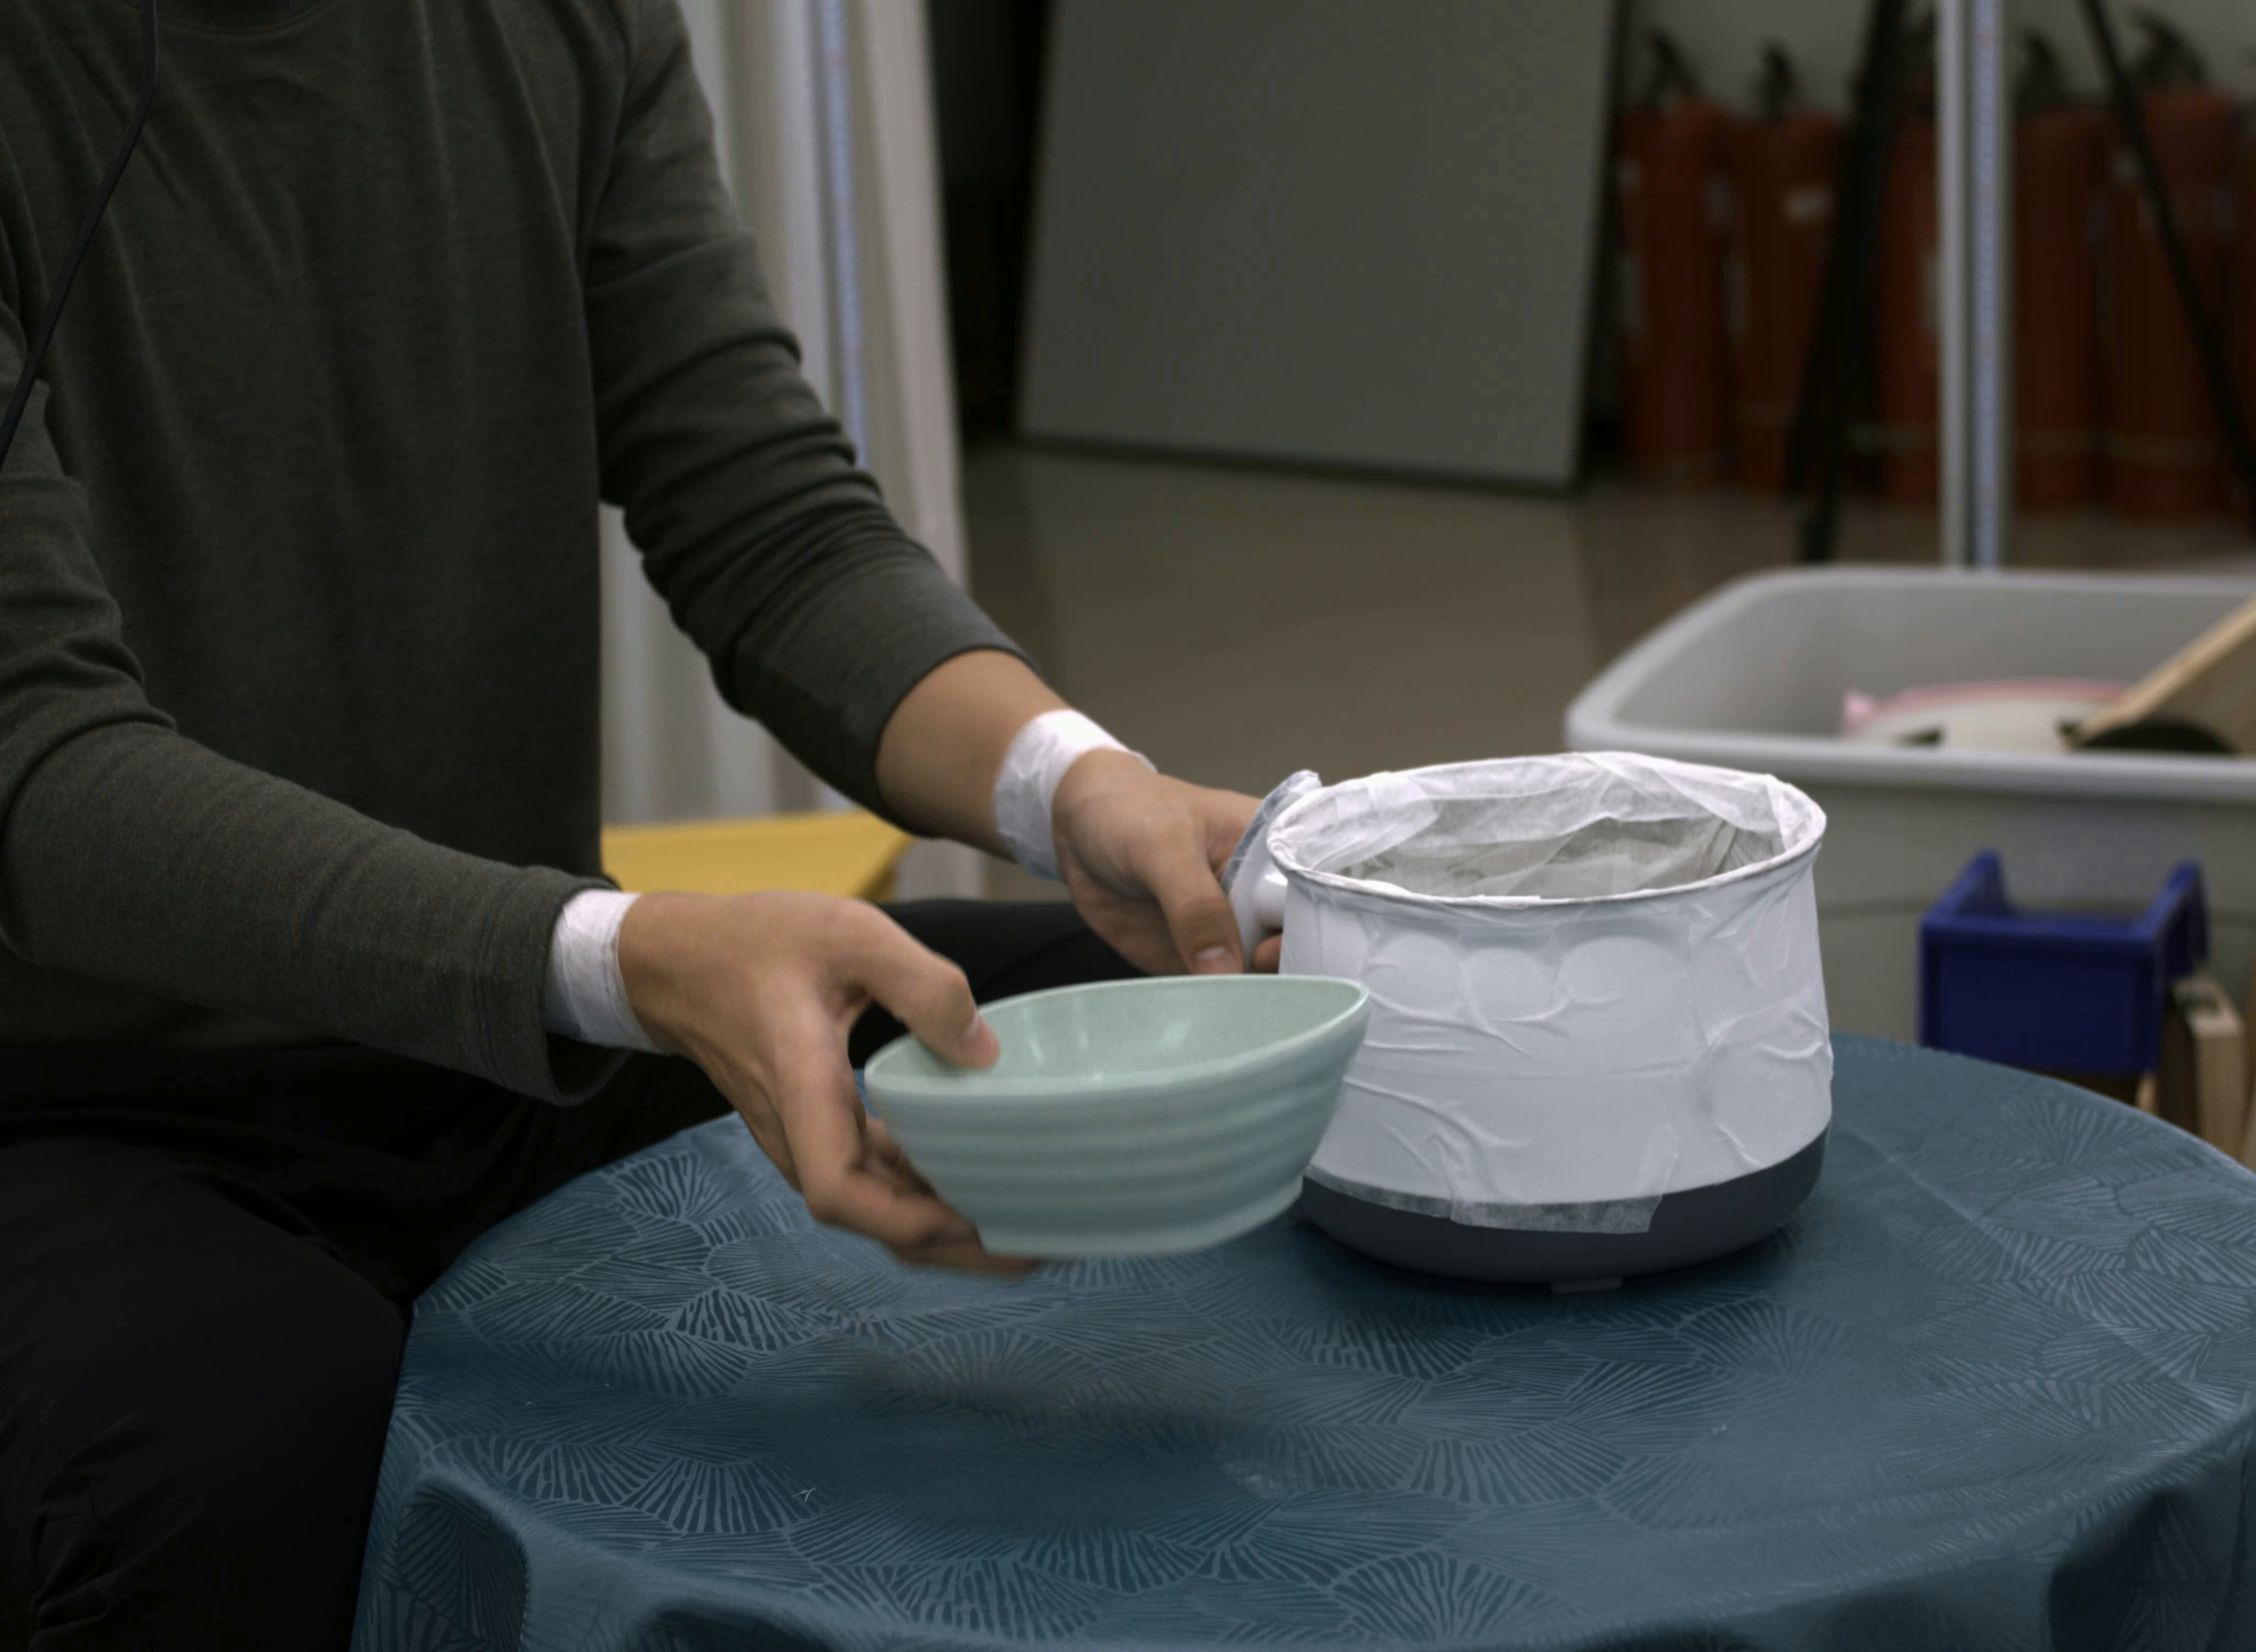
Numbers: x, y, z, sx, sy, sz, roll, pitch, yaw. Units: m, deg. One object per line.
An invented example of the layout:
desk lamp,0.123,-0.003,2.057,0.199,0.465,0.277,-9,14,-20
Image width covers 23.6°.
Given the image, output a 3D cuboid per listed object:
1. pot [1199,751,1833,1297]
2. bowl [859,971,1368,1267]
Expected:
pot,0.113,0.057,1.715,0.235,0.138,0.175,8,18,41
bowl,-0.001,0.086,1.547,0.149,0.059,0.151,-7,10,0
